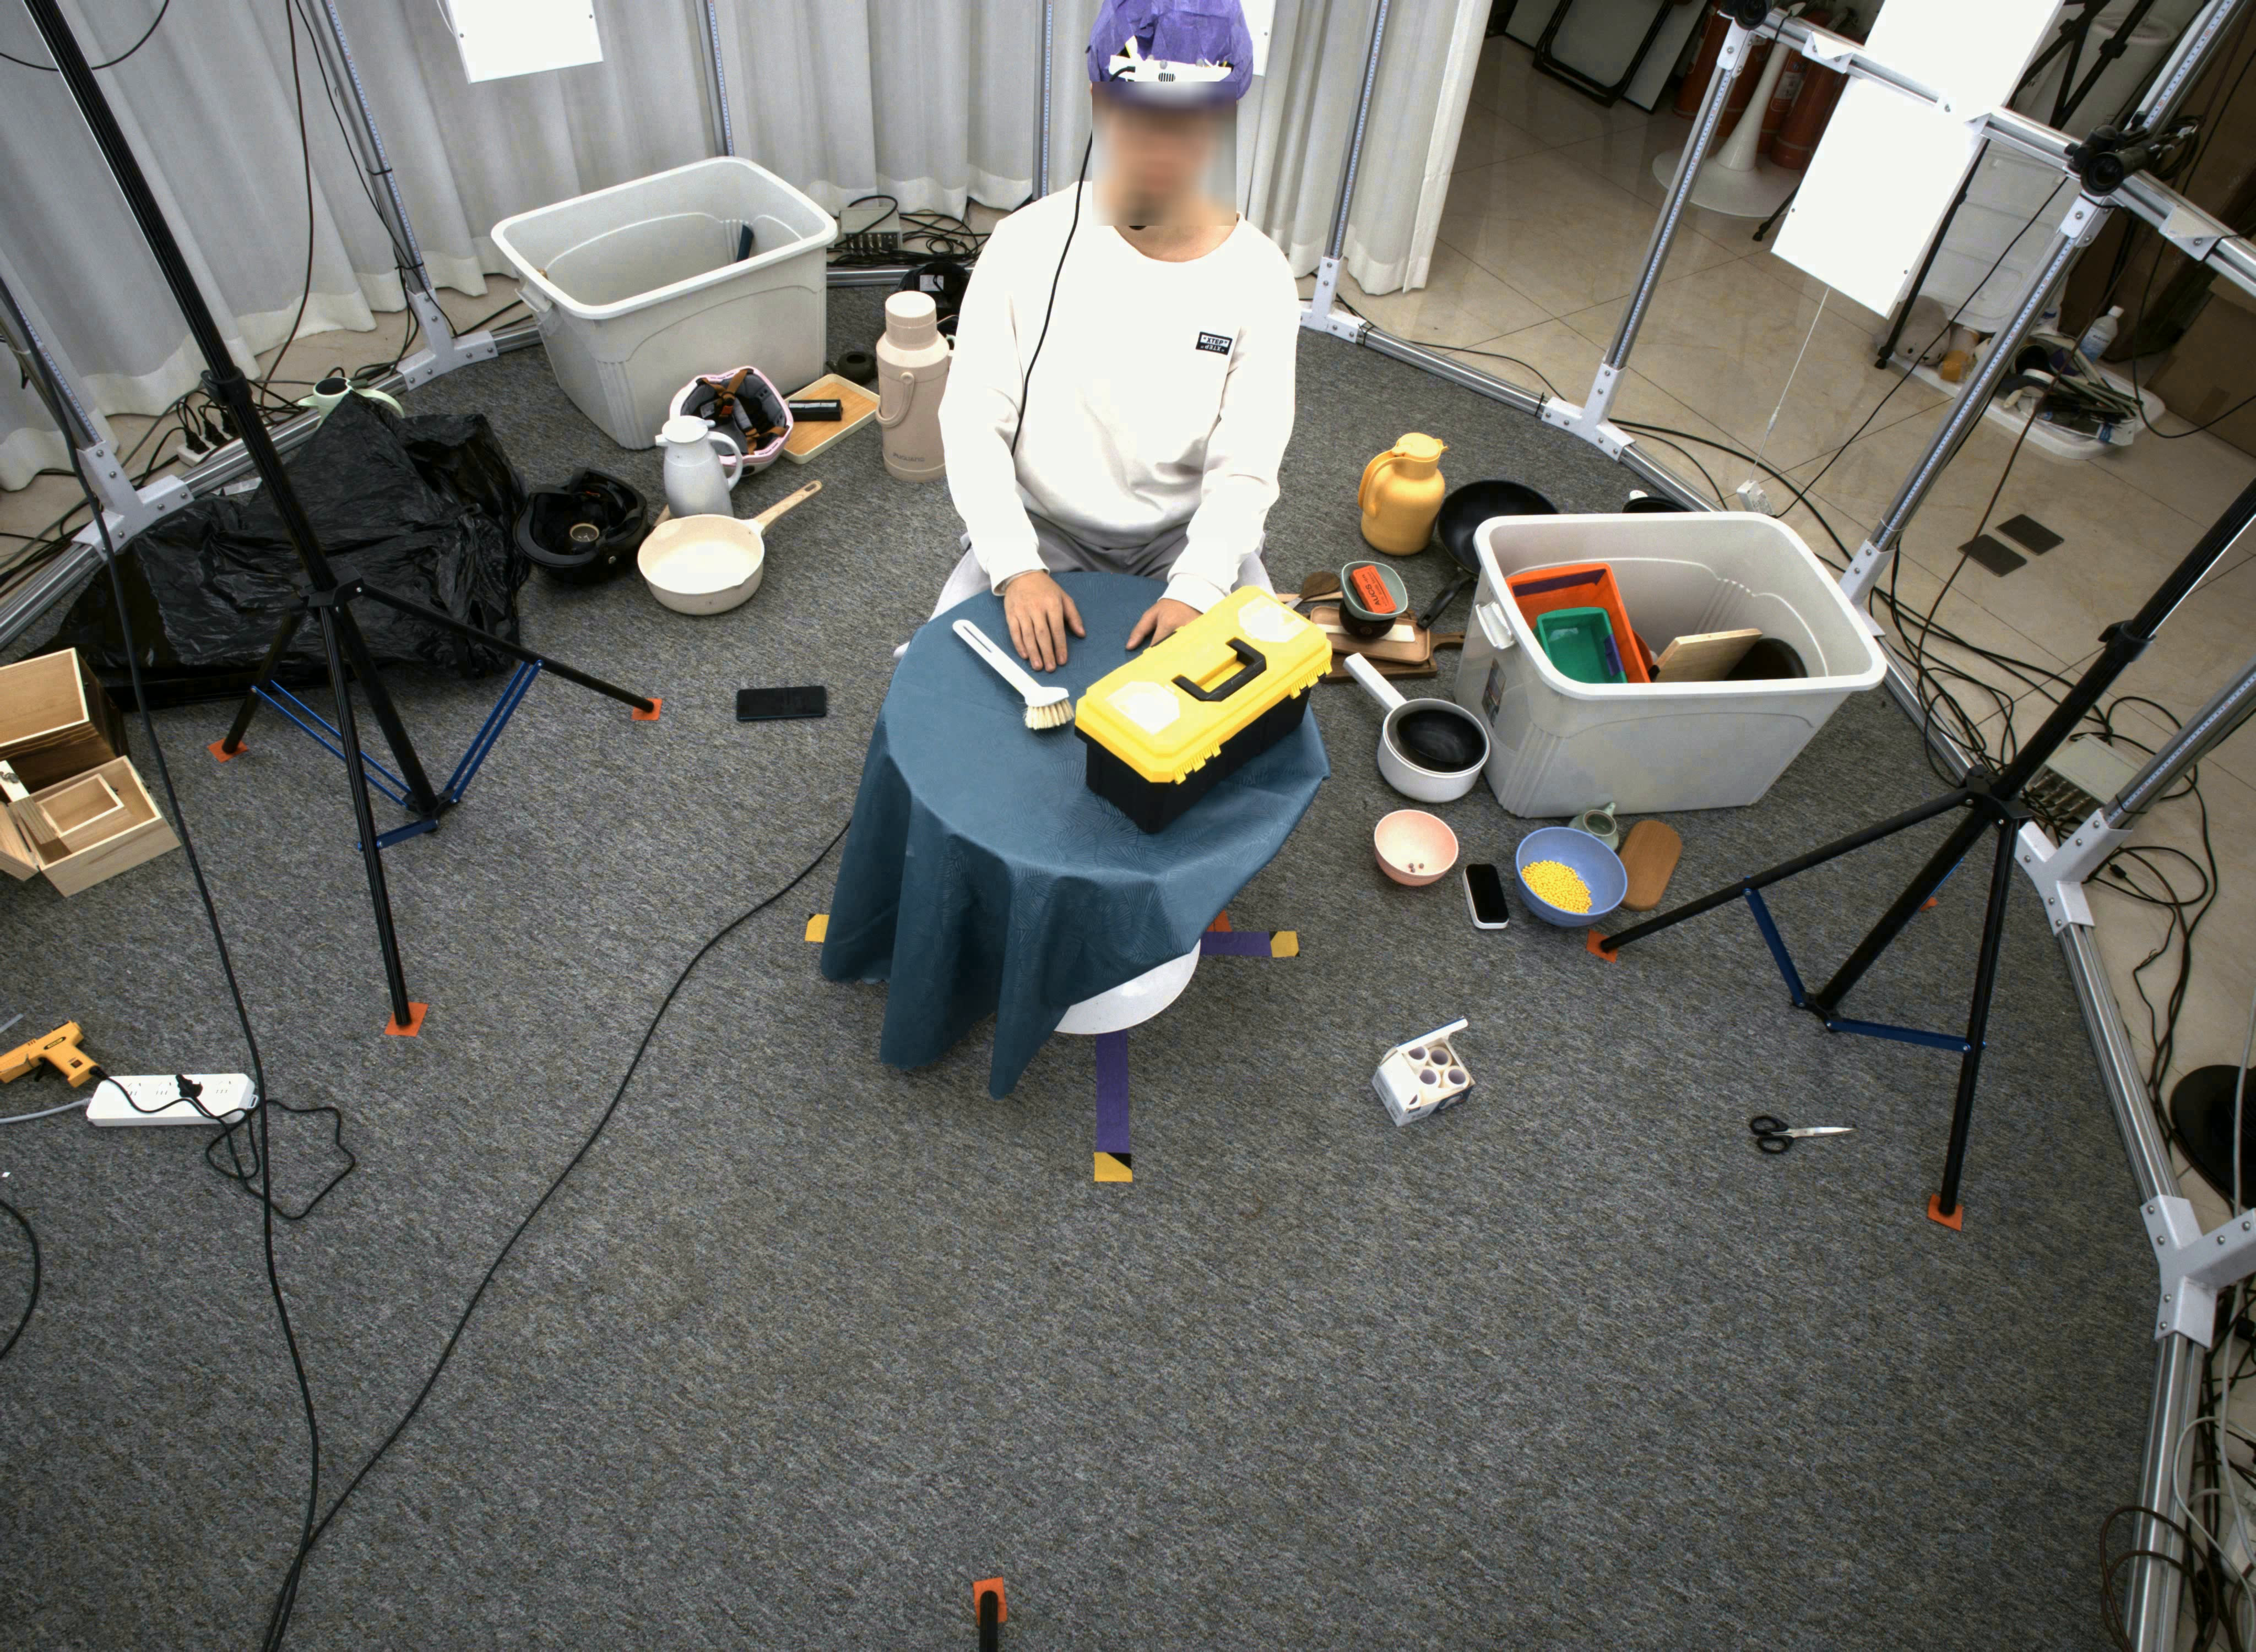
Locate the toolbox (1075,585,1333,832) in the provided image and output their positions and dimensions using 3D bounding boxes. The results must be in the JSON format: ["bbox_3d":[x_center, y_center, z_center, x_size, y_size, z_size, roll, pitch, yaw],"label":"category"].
[{"bbox_3d":[0.098,-0.157,1.696,0.184,0.169,0.355,39,56,24],"label":"toolbox"}]

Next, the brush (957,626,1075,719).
[{"bbox_3d":[-0.166,-0.215,1.830,0.068,0.055,0.271,-10,33,-38],"label":"brush"}]
